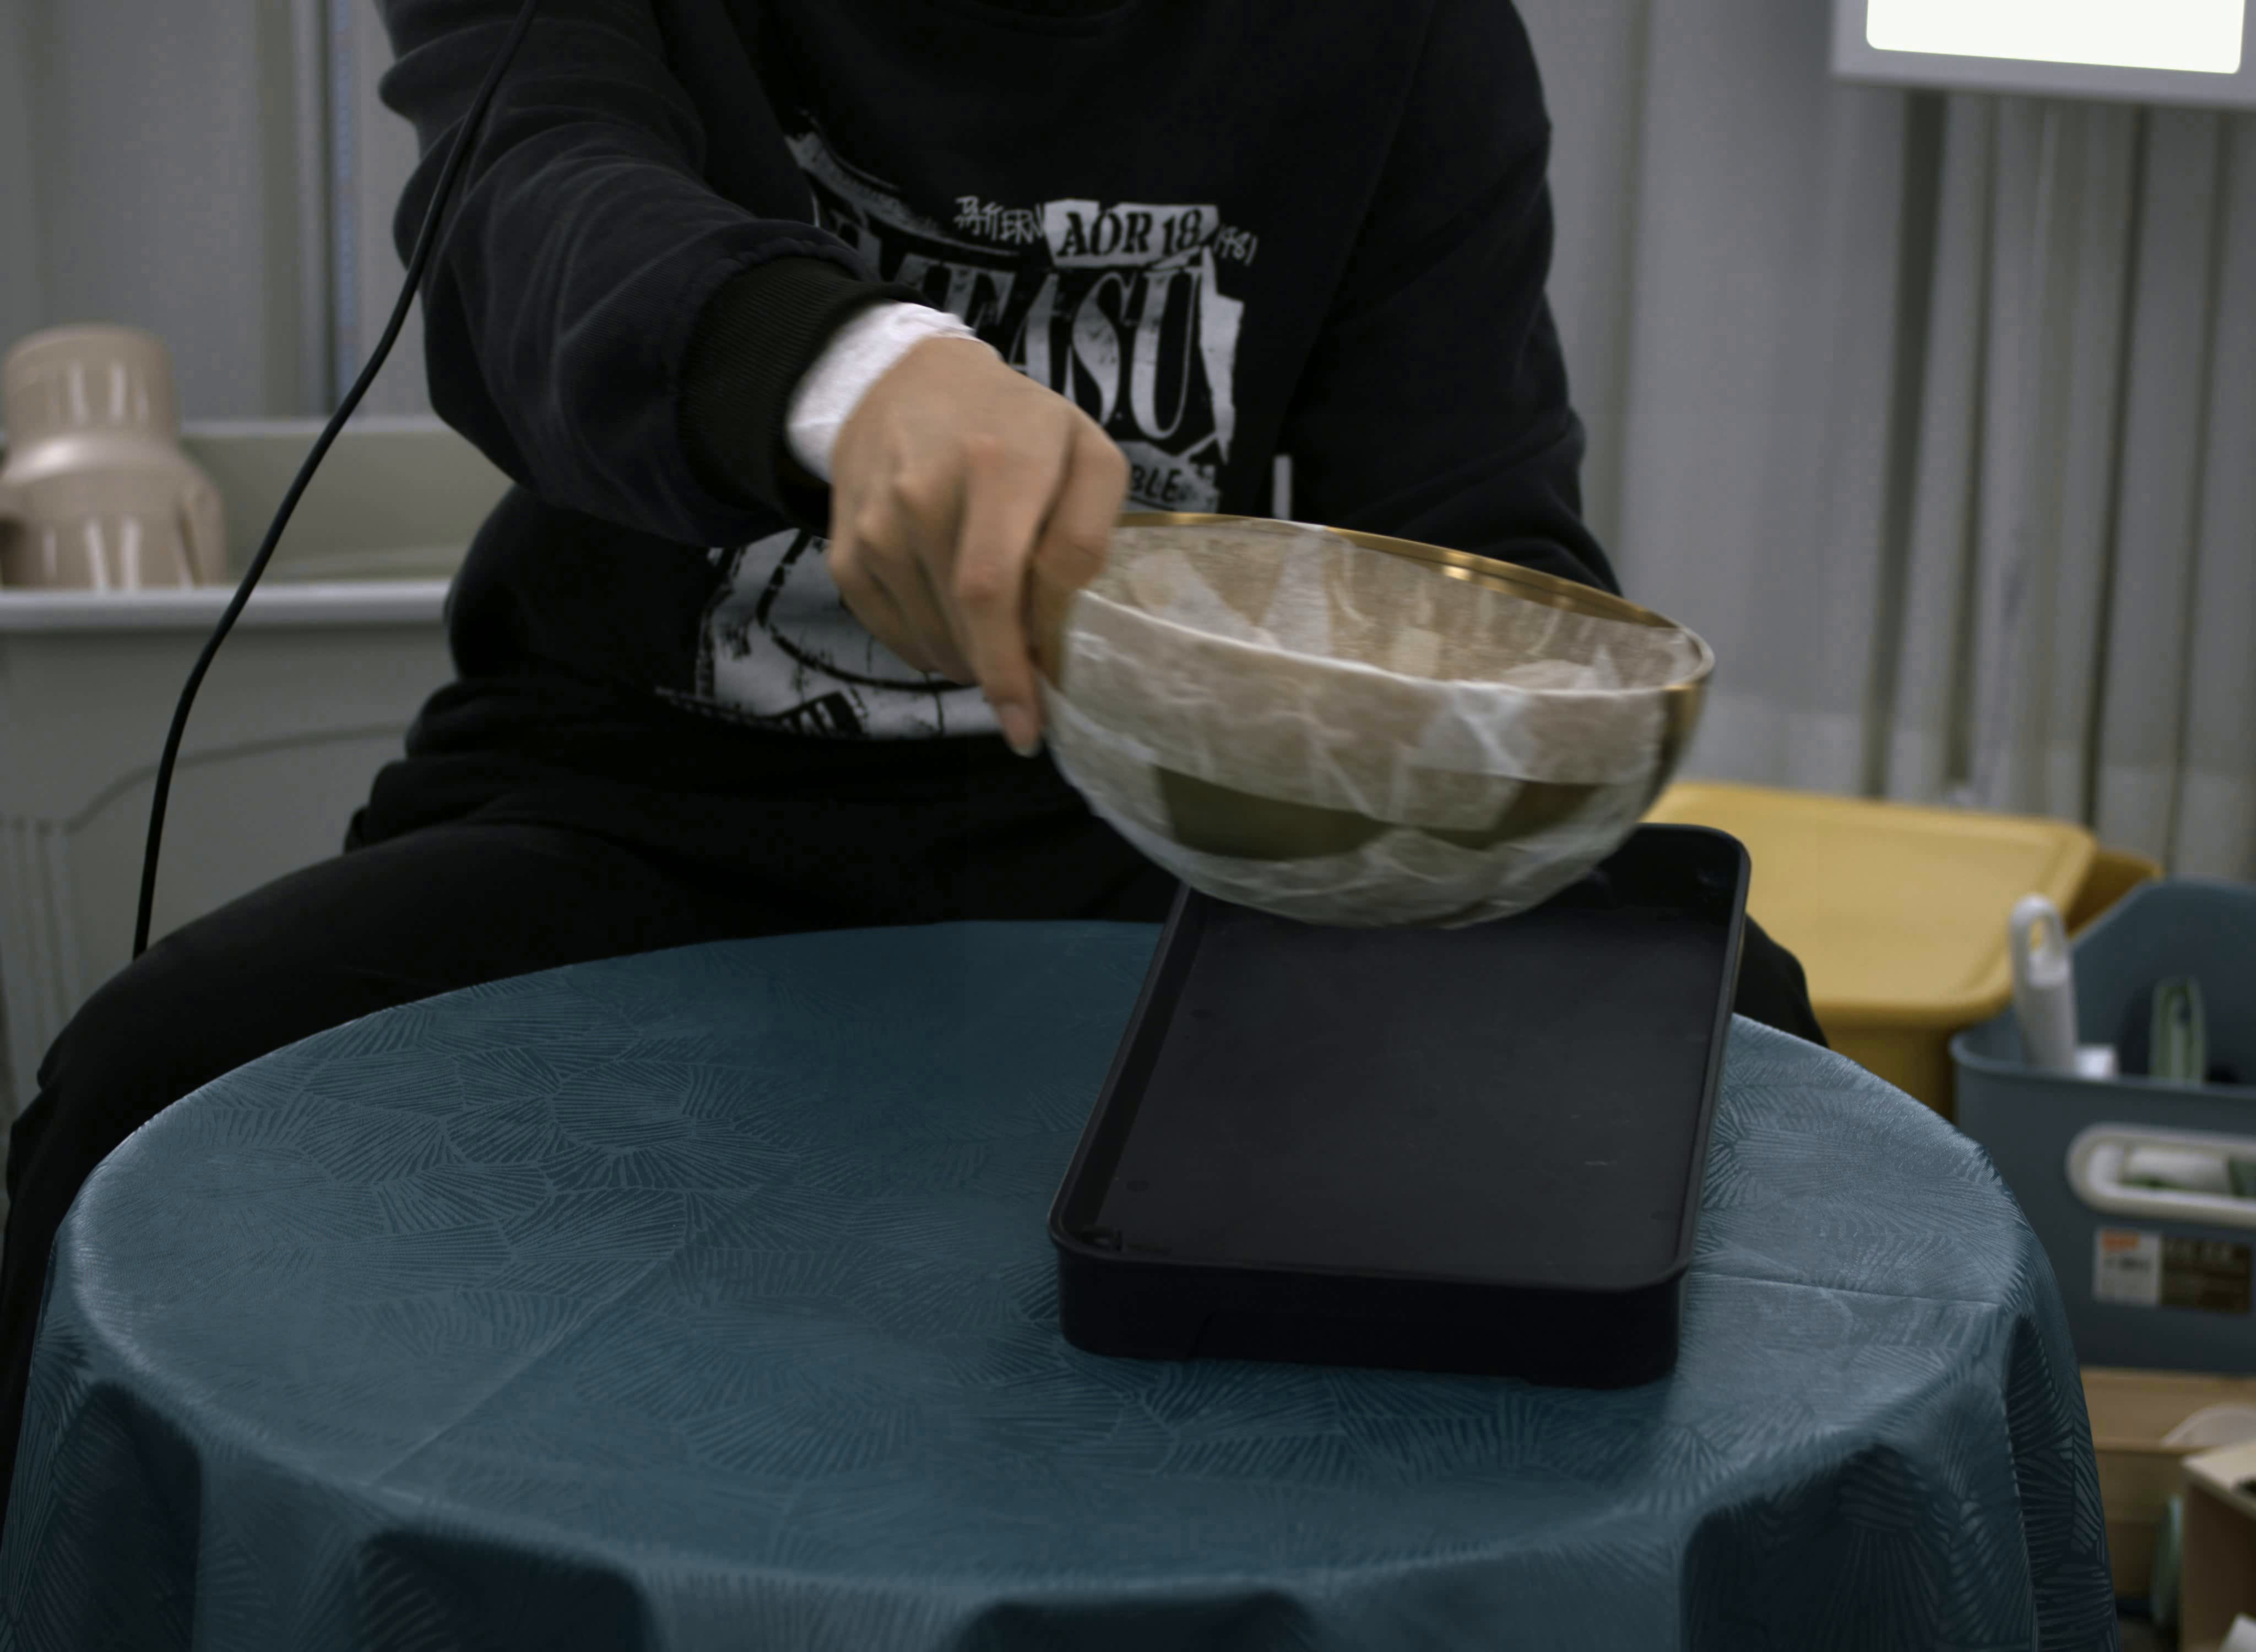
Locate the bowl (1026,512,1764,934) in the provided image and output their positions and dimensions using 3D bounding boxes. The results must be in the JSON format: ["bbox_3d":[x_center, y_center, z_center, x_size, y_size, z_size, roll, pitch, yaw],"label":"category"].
[{"bbox_3d":[0.068,-0.023,1.511,0.214,0.095,0.213,9,14,-2],"label":"bowl"}]

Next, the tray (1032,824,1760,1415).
[{"bbox_3d":[0.089,0.077,1.614,0.183,0.037,0.316,5,26,10],"label":"tray"}]
